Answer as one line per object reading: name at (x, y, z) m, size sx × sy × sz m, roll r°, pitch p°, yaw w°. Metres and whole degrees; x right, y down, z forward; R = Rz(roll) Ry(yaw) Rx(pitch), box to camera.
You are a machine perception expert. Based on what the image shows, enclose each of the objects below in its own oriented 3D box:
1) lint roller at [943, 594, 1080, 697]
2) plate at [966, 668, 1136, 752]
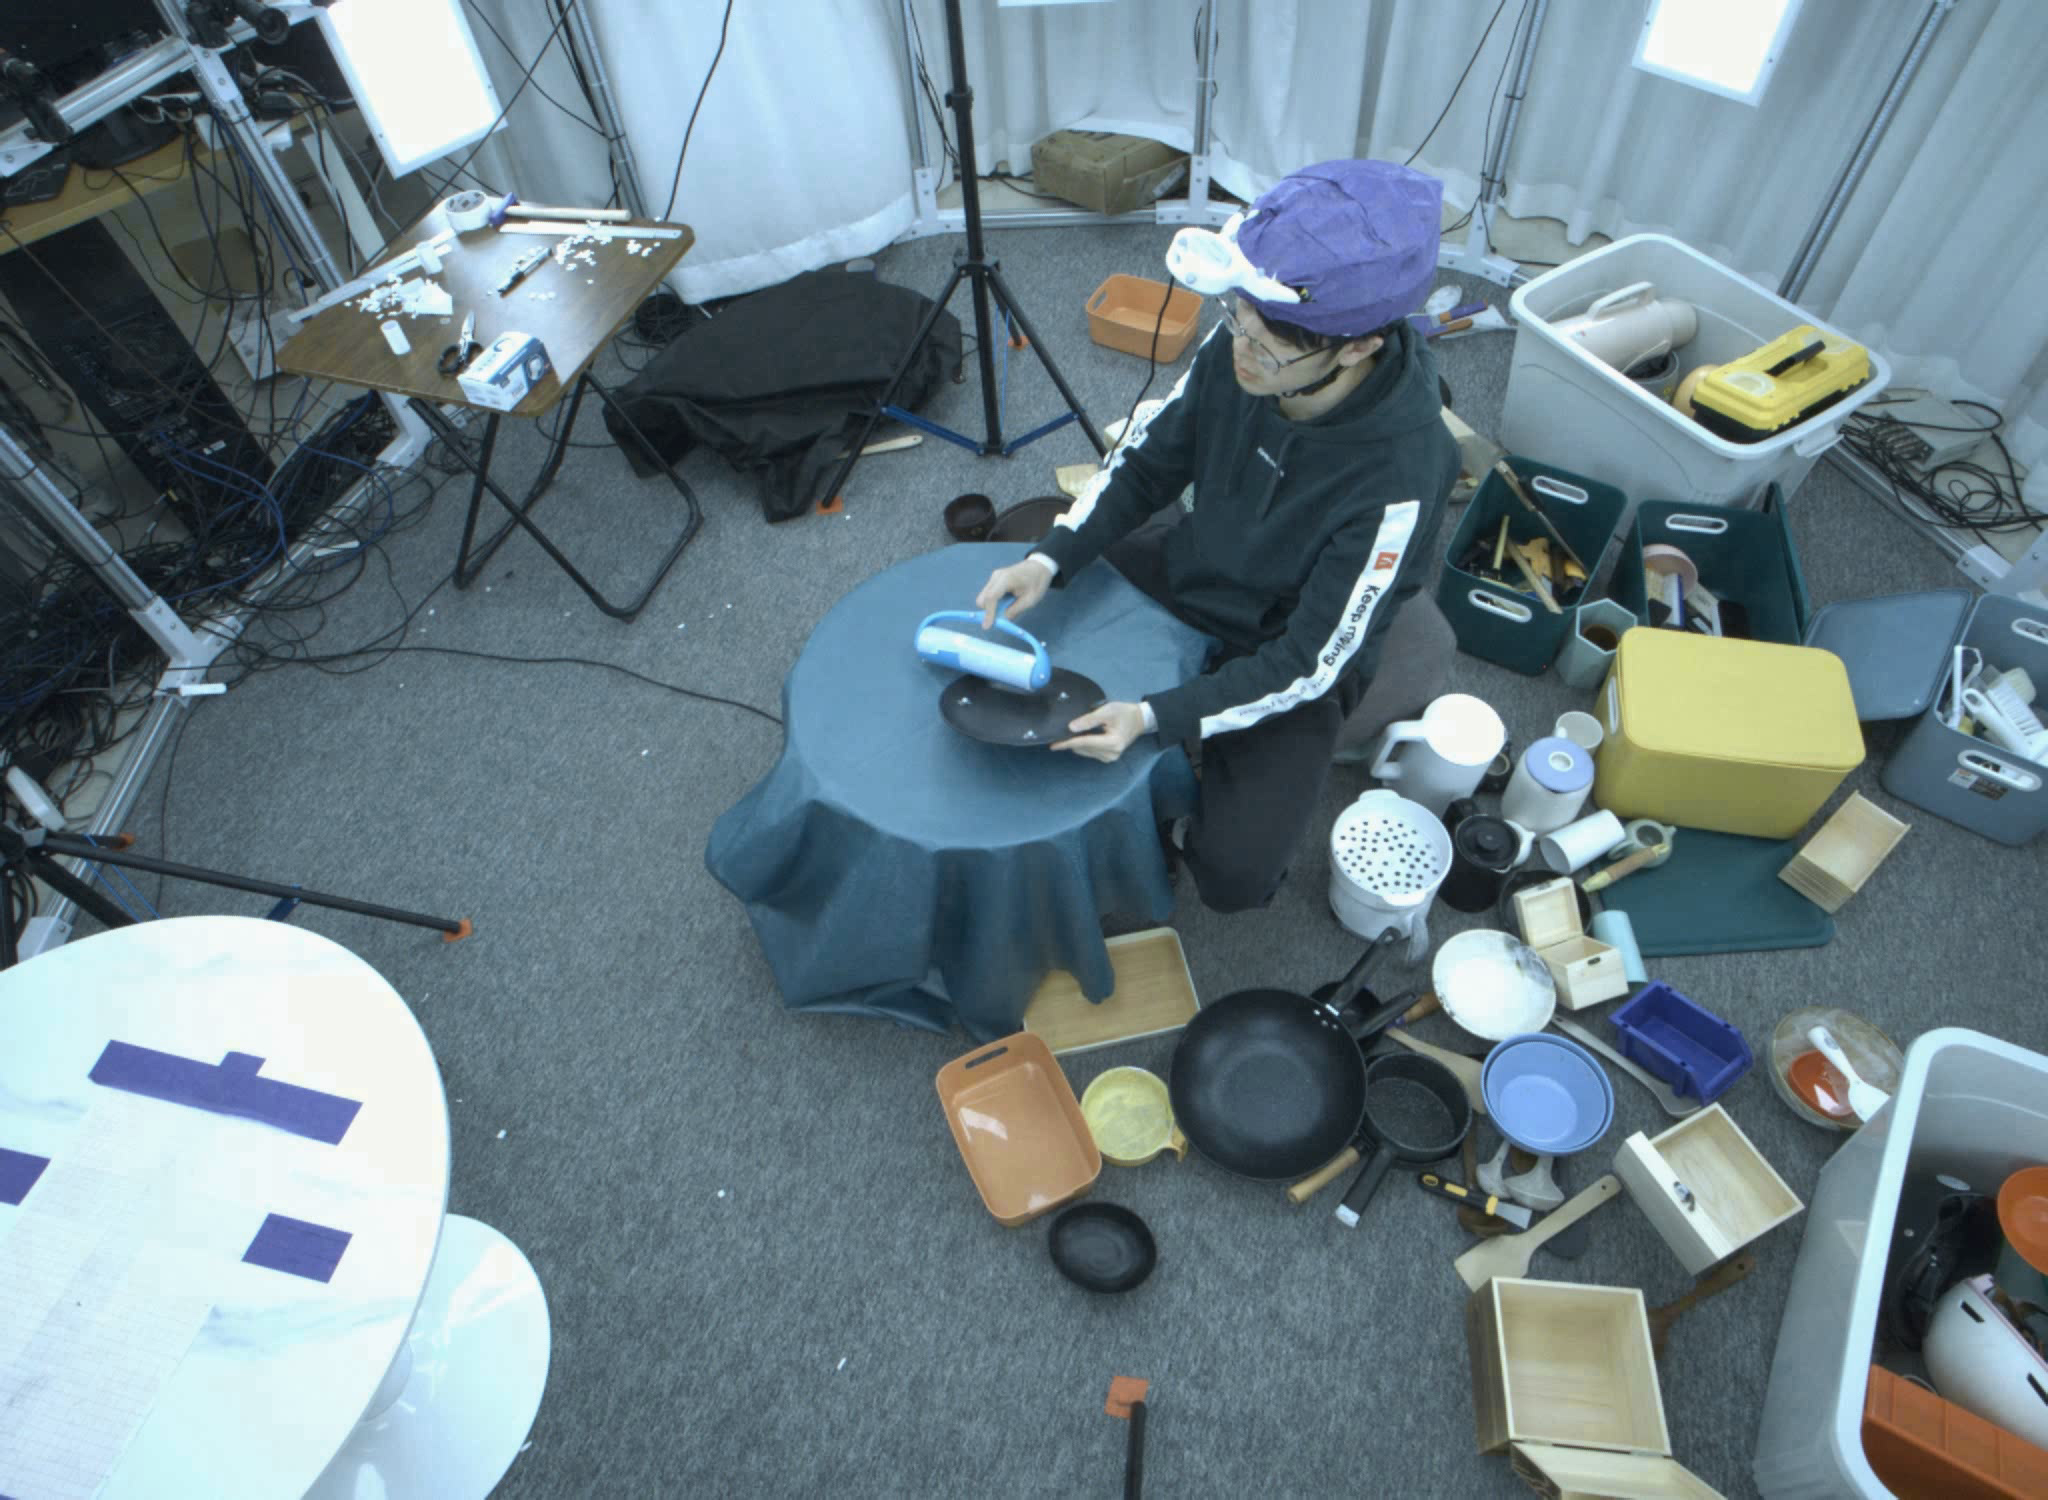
lint roller at (0.004, -0.179, 1.840) m, size 0.225 × 0.069 × 0.180 m, roll 17°, pitch 65°, yaw 22°
plate at (0.038, -0.055, 1.765) m, size 0.244 × 0.023 × 0.242 m, roll 2°, pitch 32°, yaw 0°
